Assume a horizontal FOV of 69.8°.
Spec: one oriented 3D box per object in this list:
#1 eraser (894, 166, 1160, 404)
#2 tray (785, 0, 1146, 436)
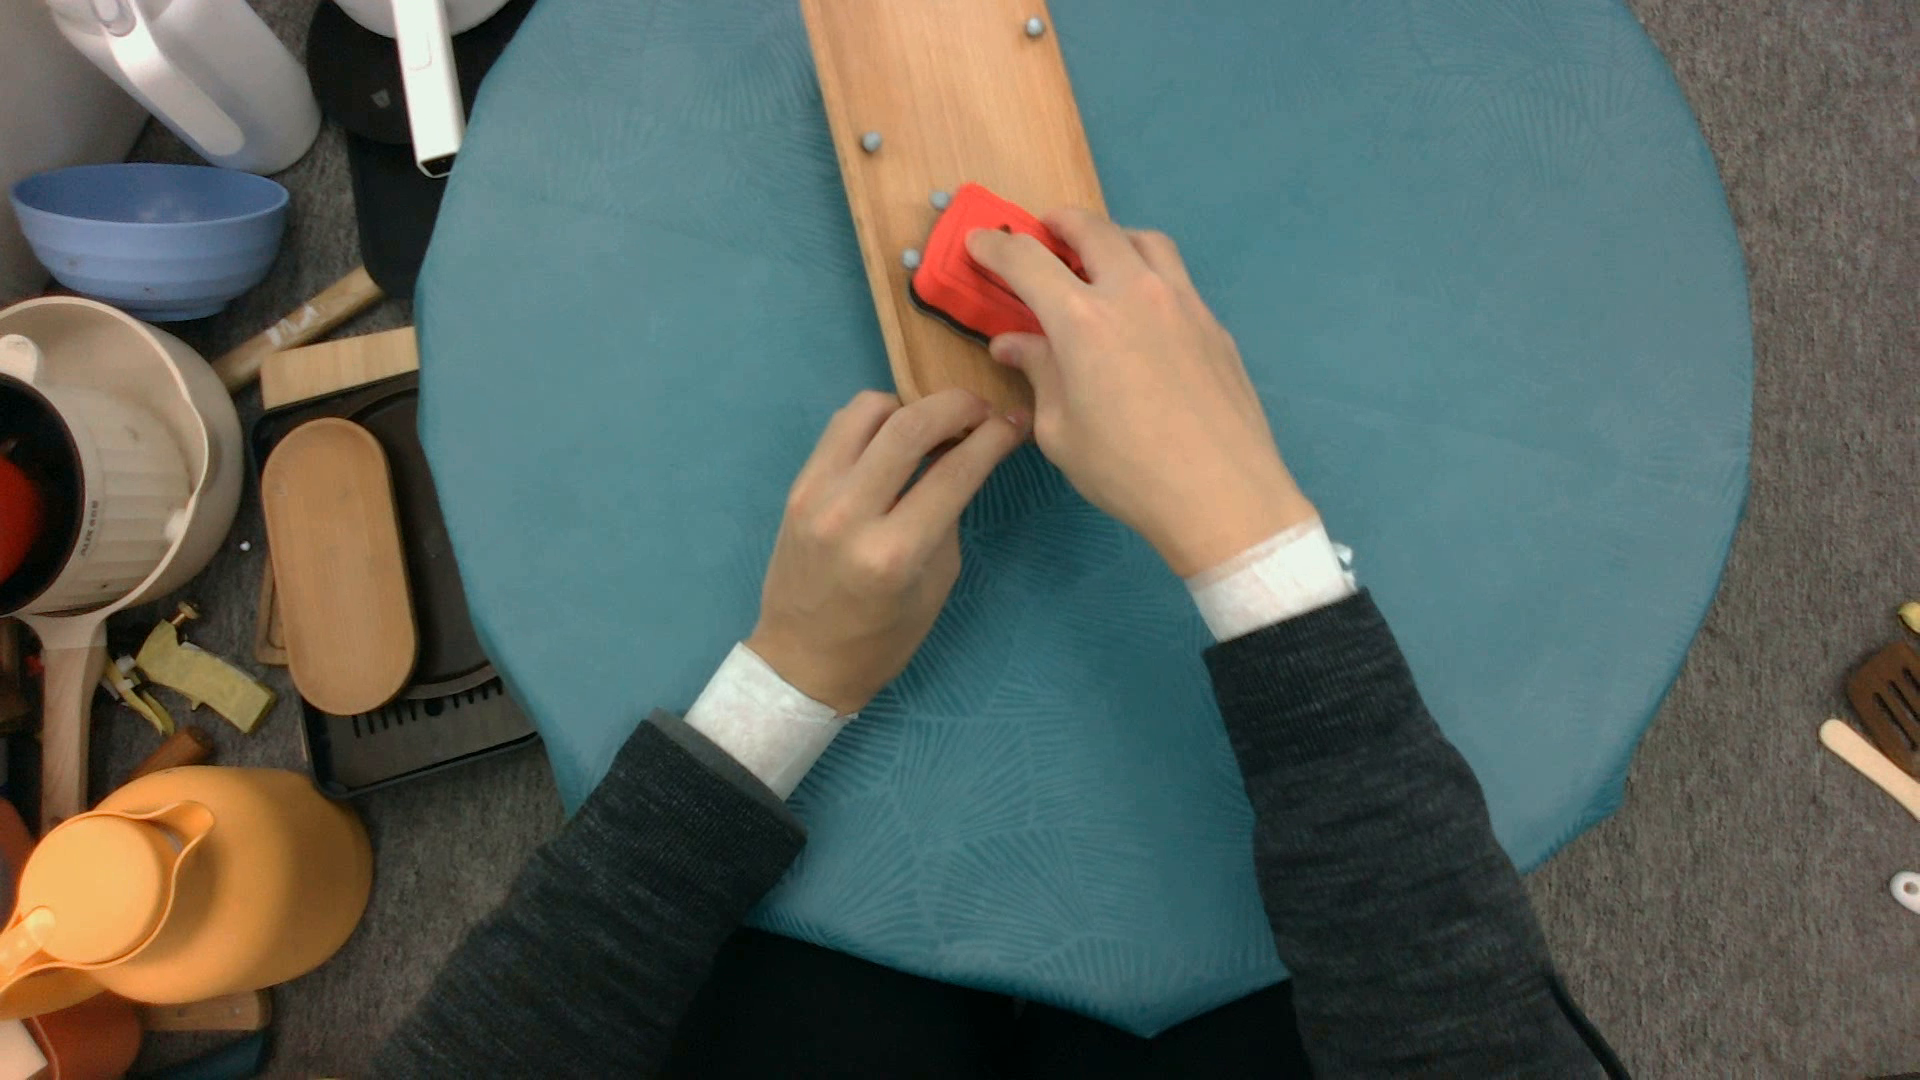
[{"bbox_3d":[0.029,-0.104,0.567,0.108,0.023,0.059,27,62,-15],"label":"eraser"},{"bbox_3d":[-0.001,-0.161,0.590,0.131,0.023,0.251,-6,74,-31],"label":"tray"}]
